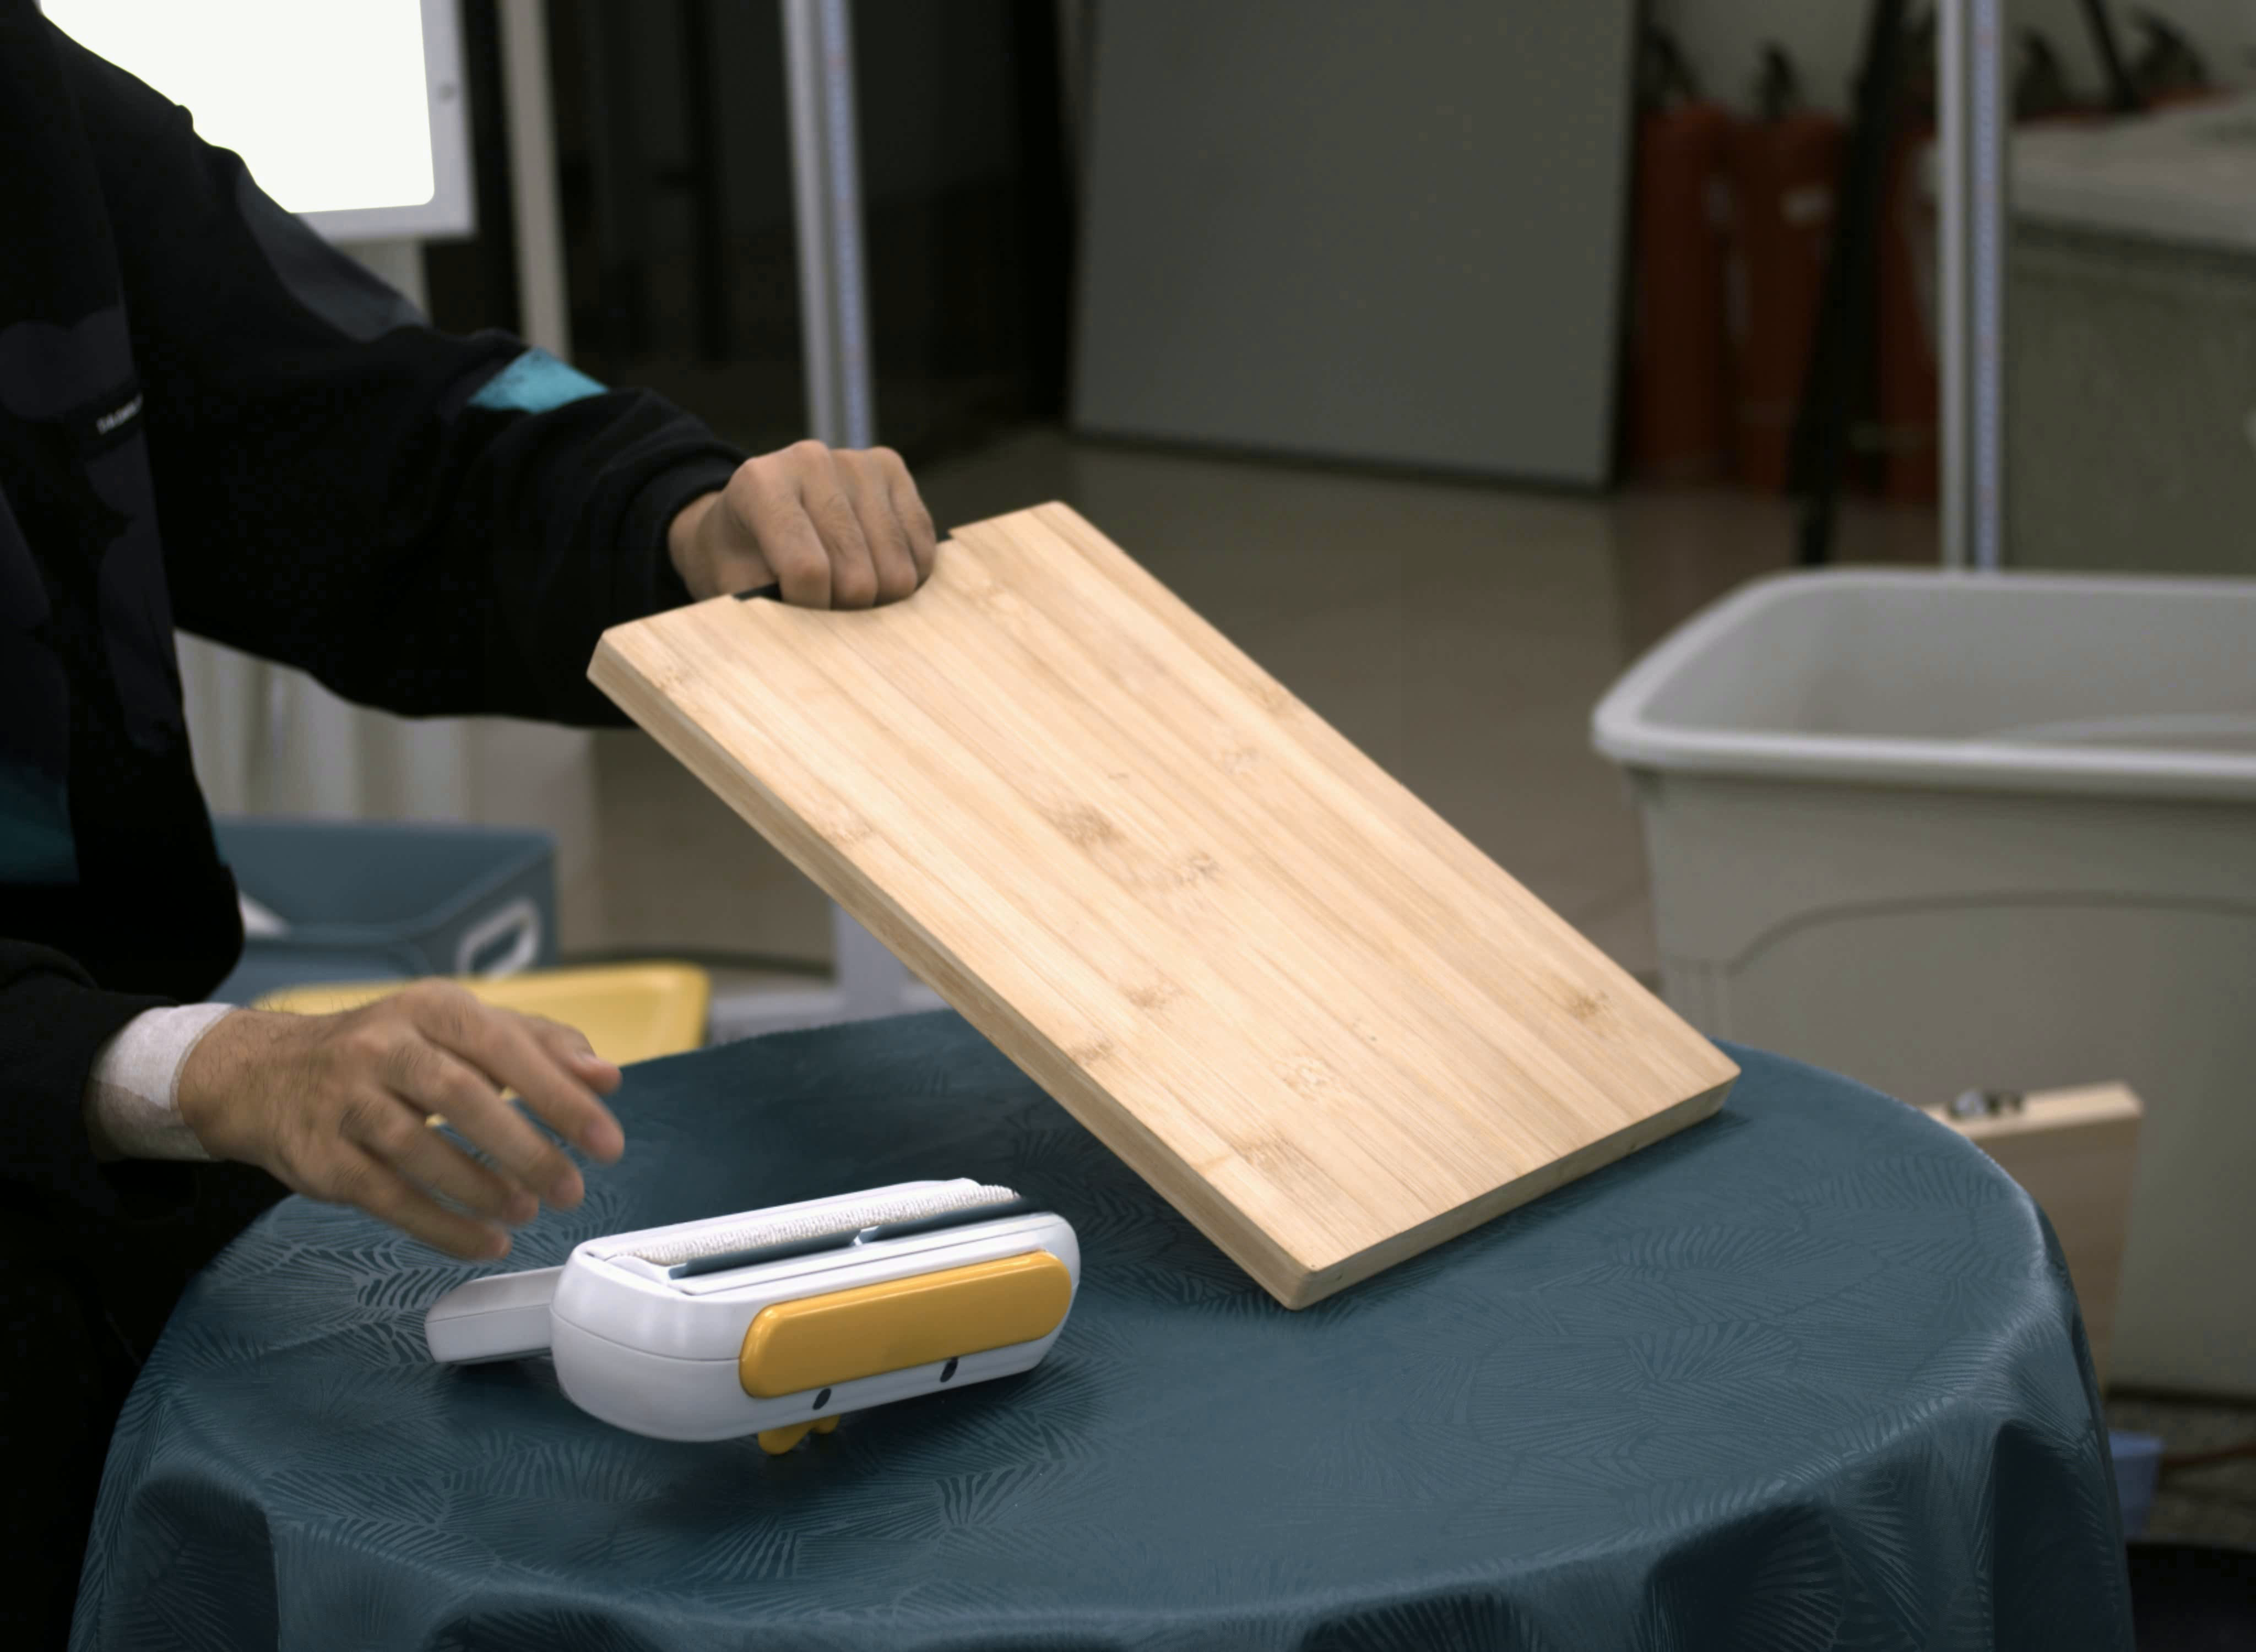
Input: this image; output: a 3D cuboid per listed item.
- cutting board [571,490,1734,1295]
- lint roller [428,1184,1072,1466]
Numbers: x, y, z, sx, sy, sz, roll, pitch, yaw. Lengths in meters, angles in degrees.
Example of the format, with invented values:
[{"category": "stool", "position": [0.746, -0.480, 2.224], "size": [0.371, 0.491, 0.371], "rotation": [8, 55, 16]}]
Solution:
[{"category": "cutting board", "position": [0.009, 0.013, 1.804], "size": [0.351, 0.024, 0.246], "rotation": [40, 36, 26]}, {"category": "lint roller", "position": [-0.136, 0.141, 1.591], "size": [0.194, 0.075, 0.189], "rotation": [6, 12, 42]}]
